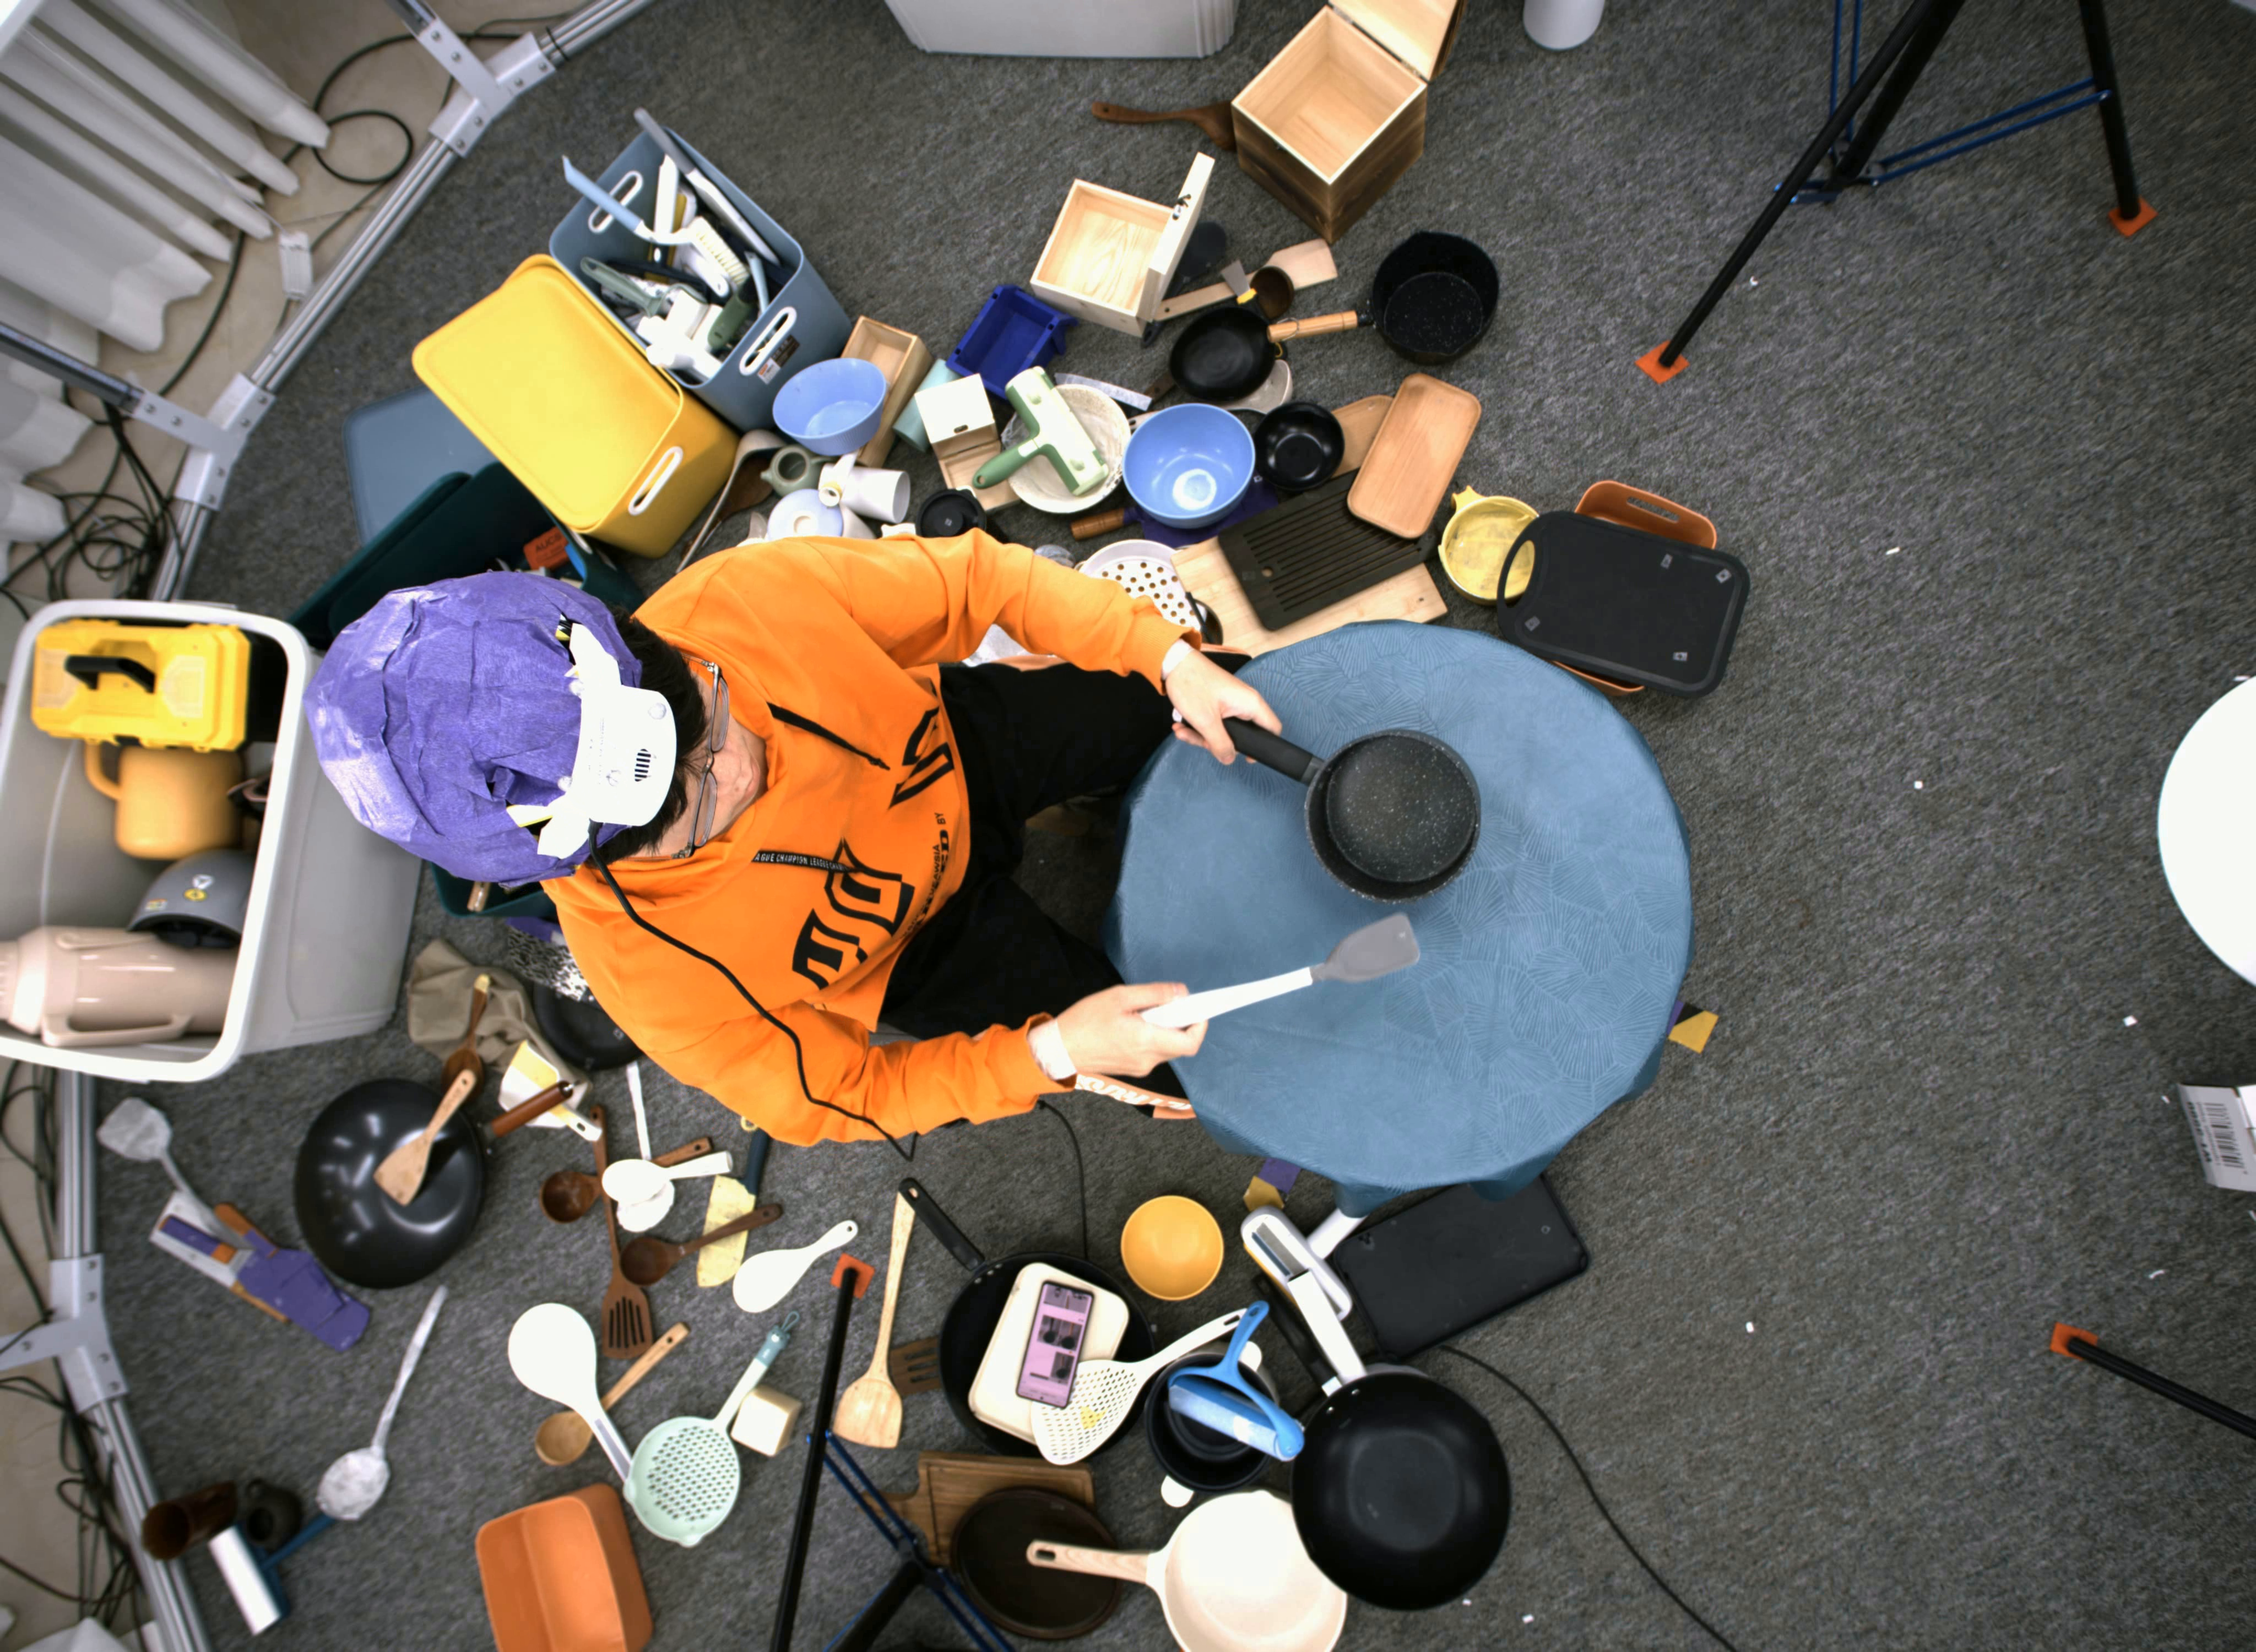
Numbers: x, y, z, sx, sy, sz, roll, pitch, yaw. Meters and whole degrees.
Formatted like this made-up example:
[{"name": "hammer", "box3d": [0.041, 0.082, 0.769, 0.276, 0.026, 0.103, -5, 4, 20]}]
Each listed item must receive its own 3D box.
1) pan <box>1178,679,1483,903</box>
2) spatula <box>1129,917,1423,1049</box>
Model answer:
[{"name": "pan", "box3d": [0.202, -0.055, 1.391, 0.328, 0.085, 0.174, 31, 108, 9]}, {"name": "spatula", "box3d": [0.140, 0.155, 1.333, 0.289, 0.033, 0.057, -19, 60, 8]}]
